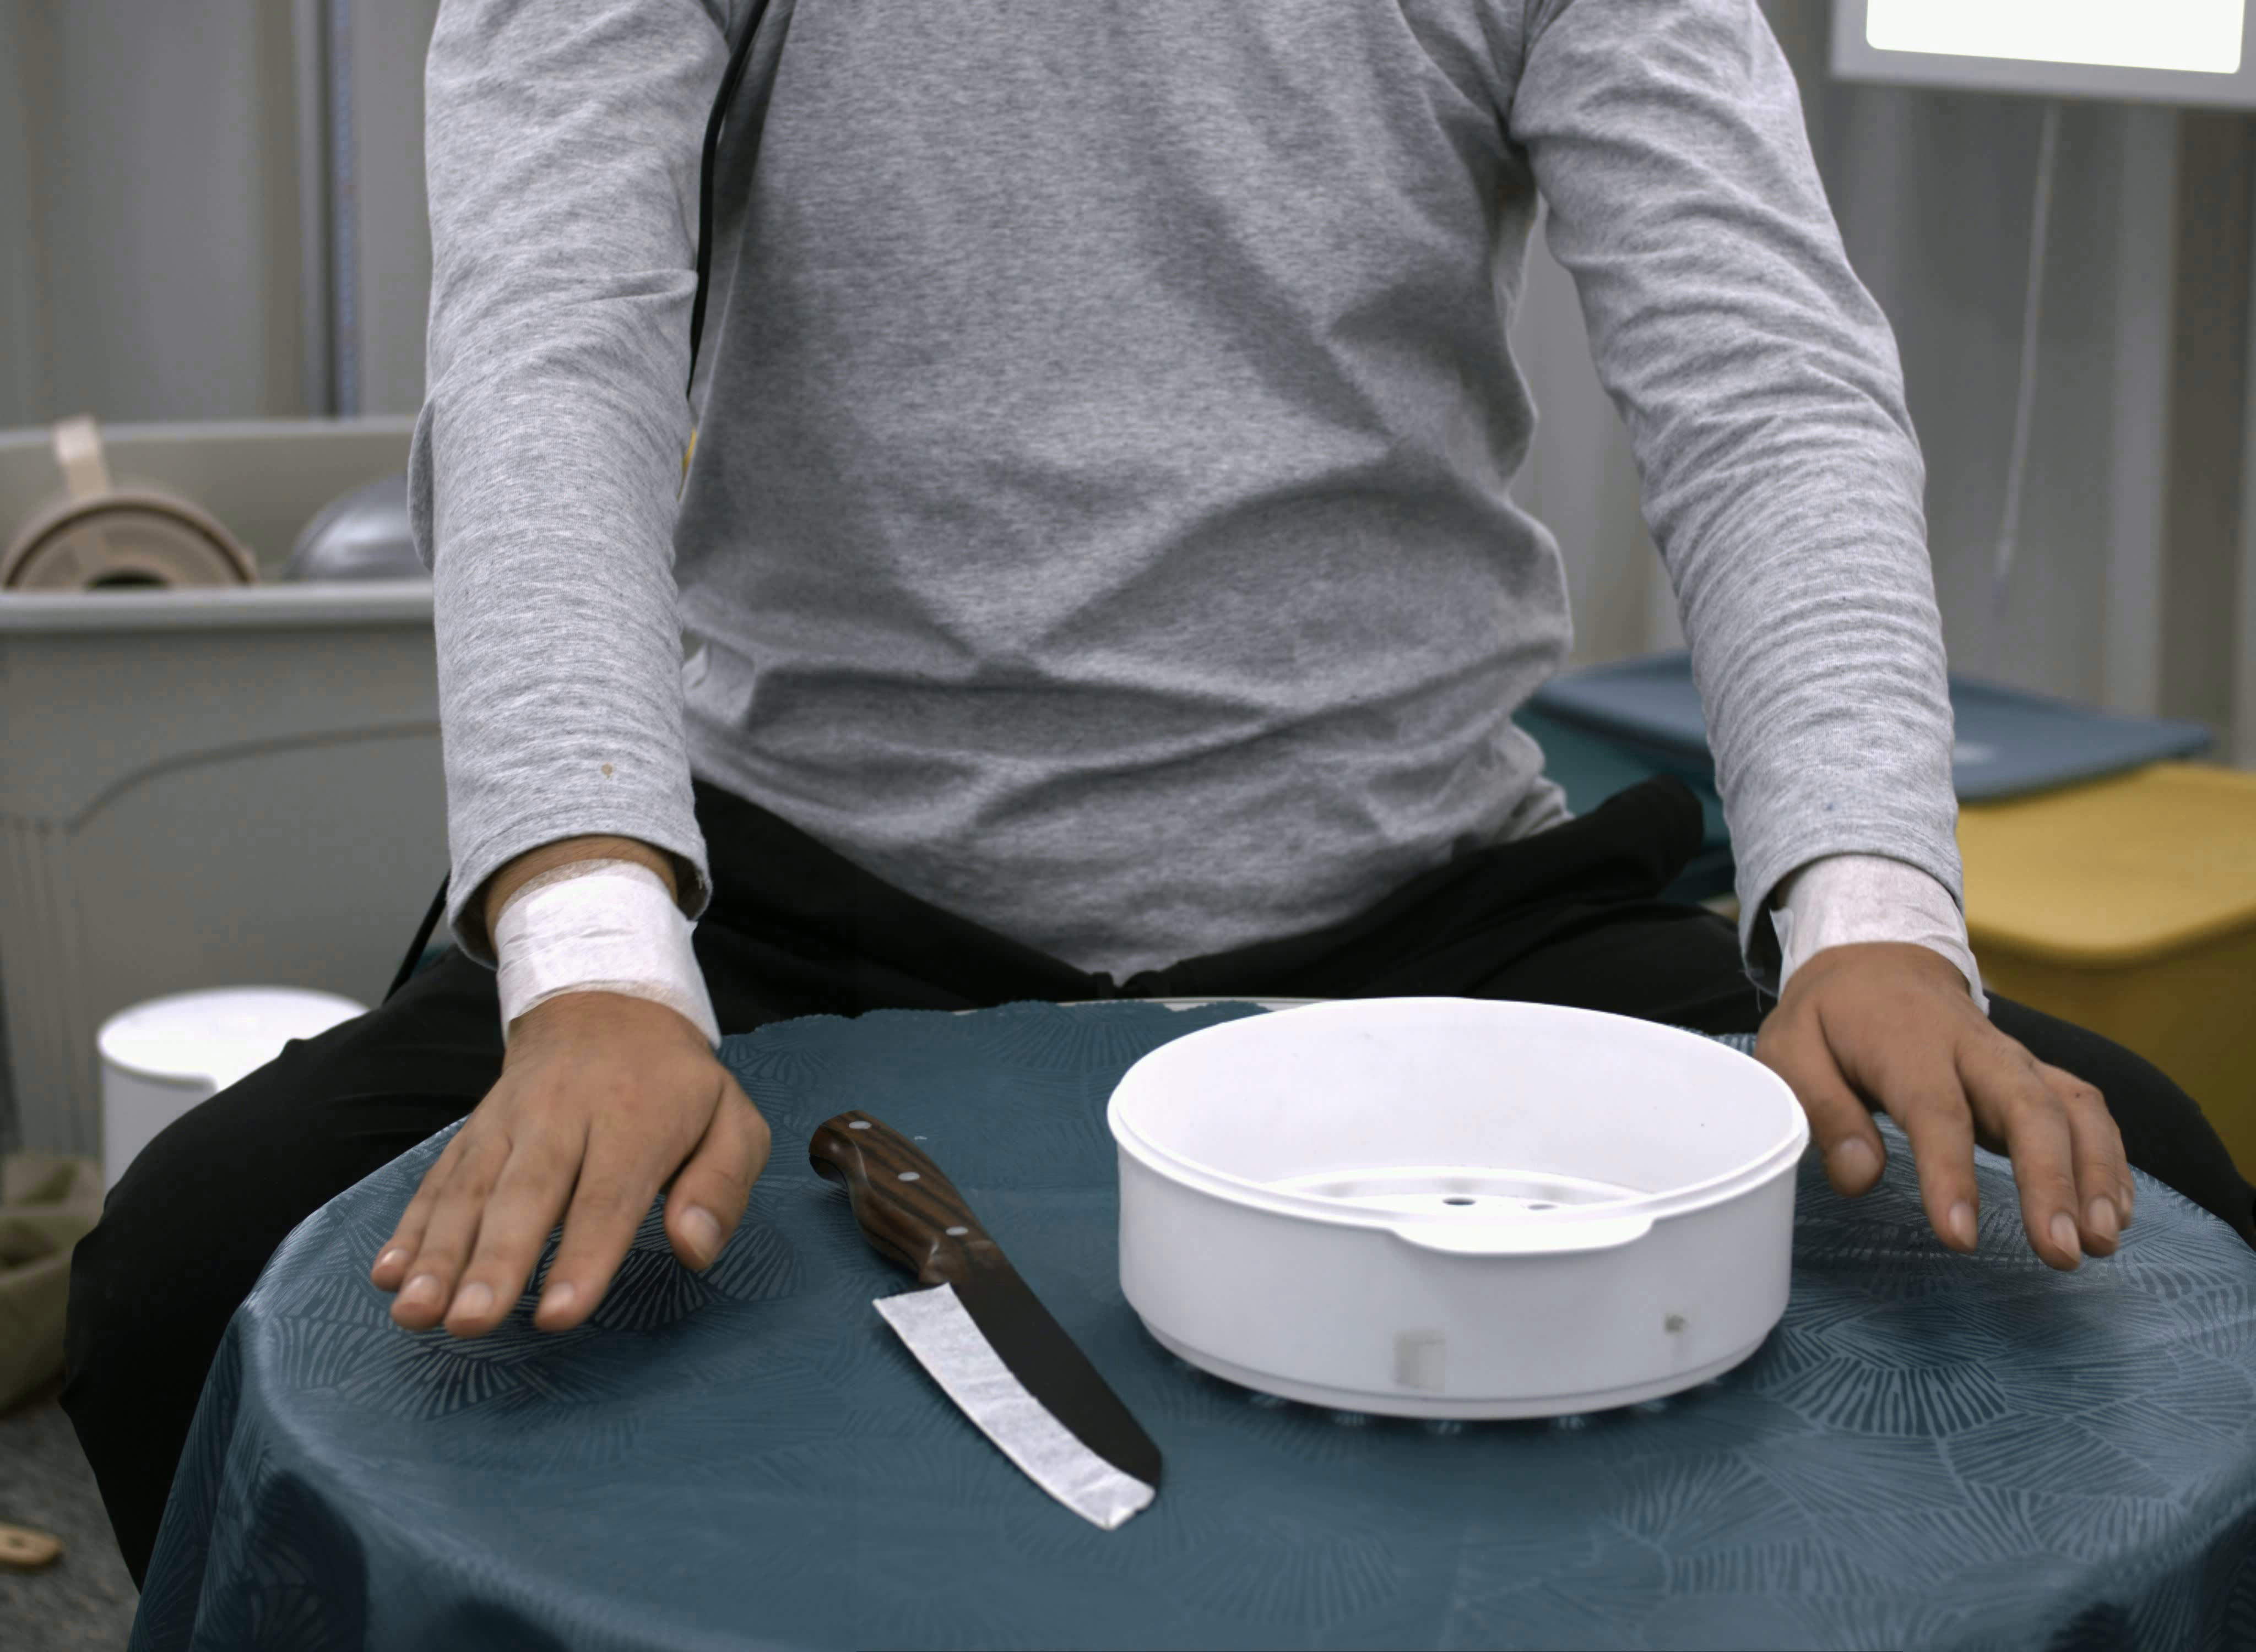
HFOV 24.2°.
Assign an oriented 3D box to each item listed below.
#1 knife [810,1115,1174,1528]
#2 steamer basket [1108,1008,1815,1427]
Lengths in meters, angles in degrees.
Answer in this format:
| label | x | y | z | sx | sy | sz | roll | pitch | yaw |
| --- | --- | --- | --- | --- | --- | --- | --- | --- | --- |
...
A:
| label | x | y | z | sx | sy | sz | roll | pitch | yaw |
| --- | --- | --- | --- | --- | --- | --- | --- | --- | --- |
| knife | -0.044 | 0.139 | 1.497 | 0.050 | 0.020 | 0.286 | -9 | 20 | -16 |
| steamer basket | 0.094 | 0.111 | 1.507 | 0.202 | 0.070 | 0.229 | -1 | 15 | -8 |
